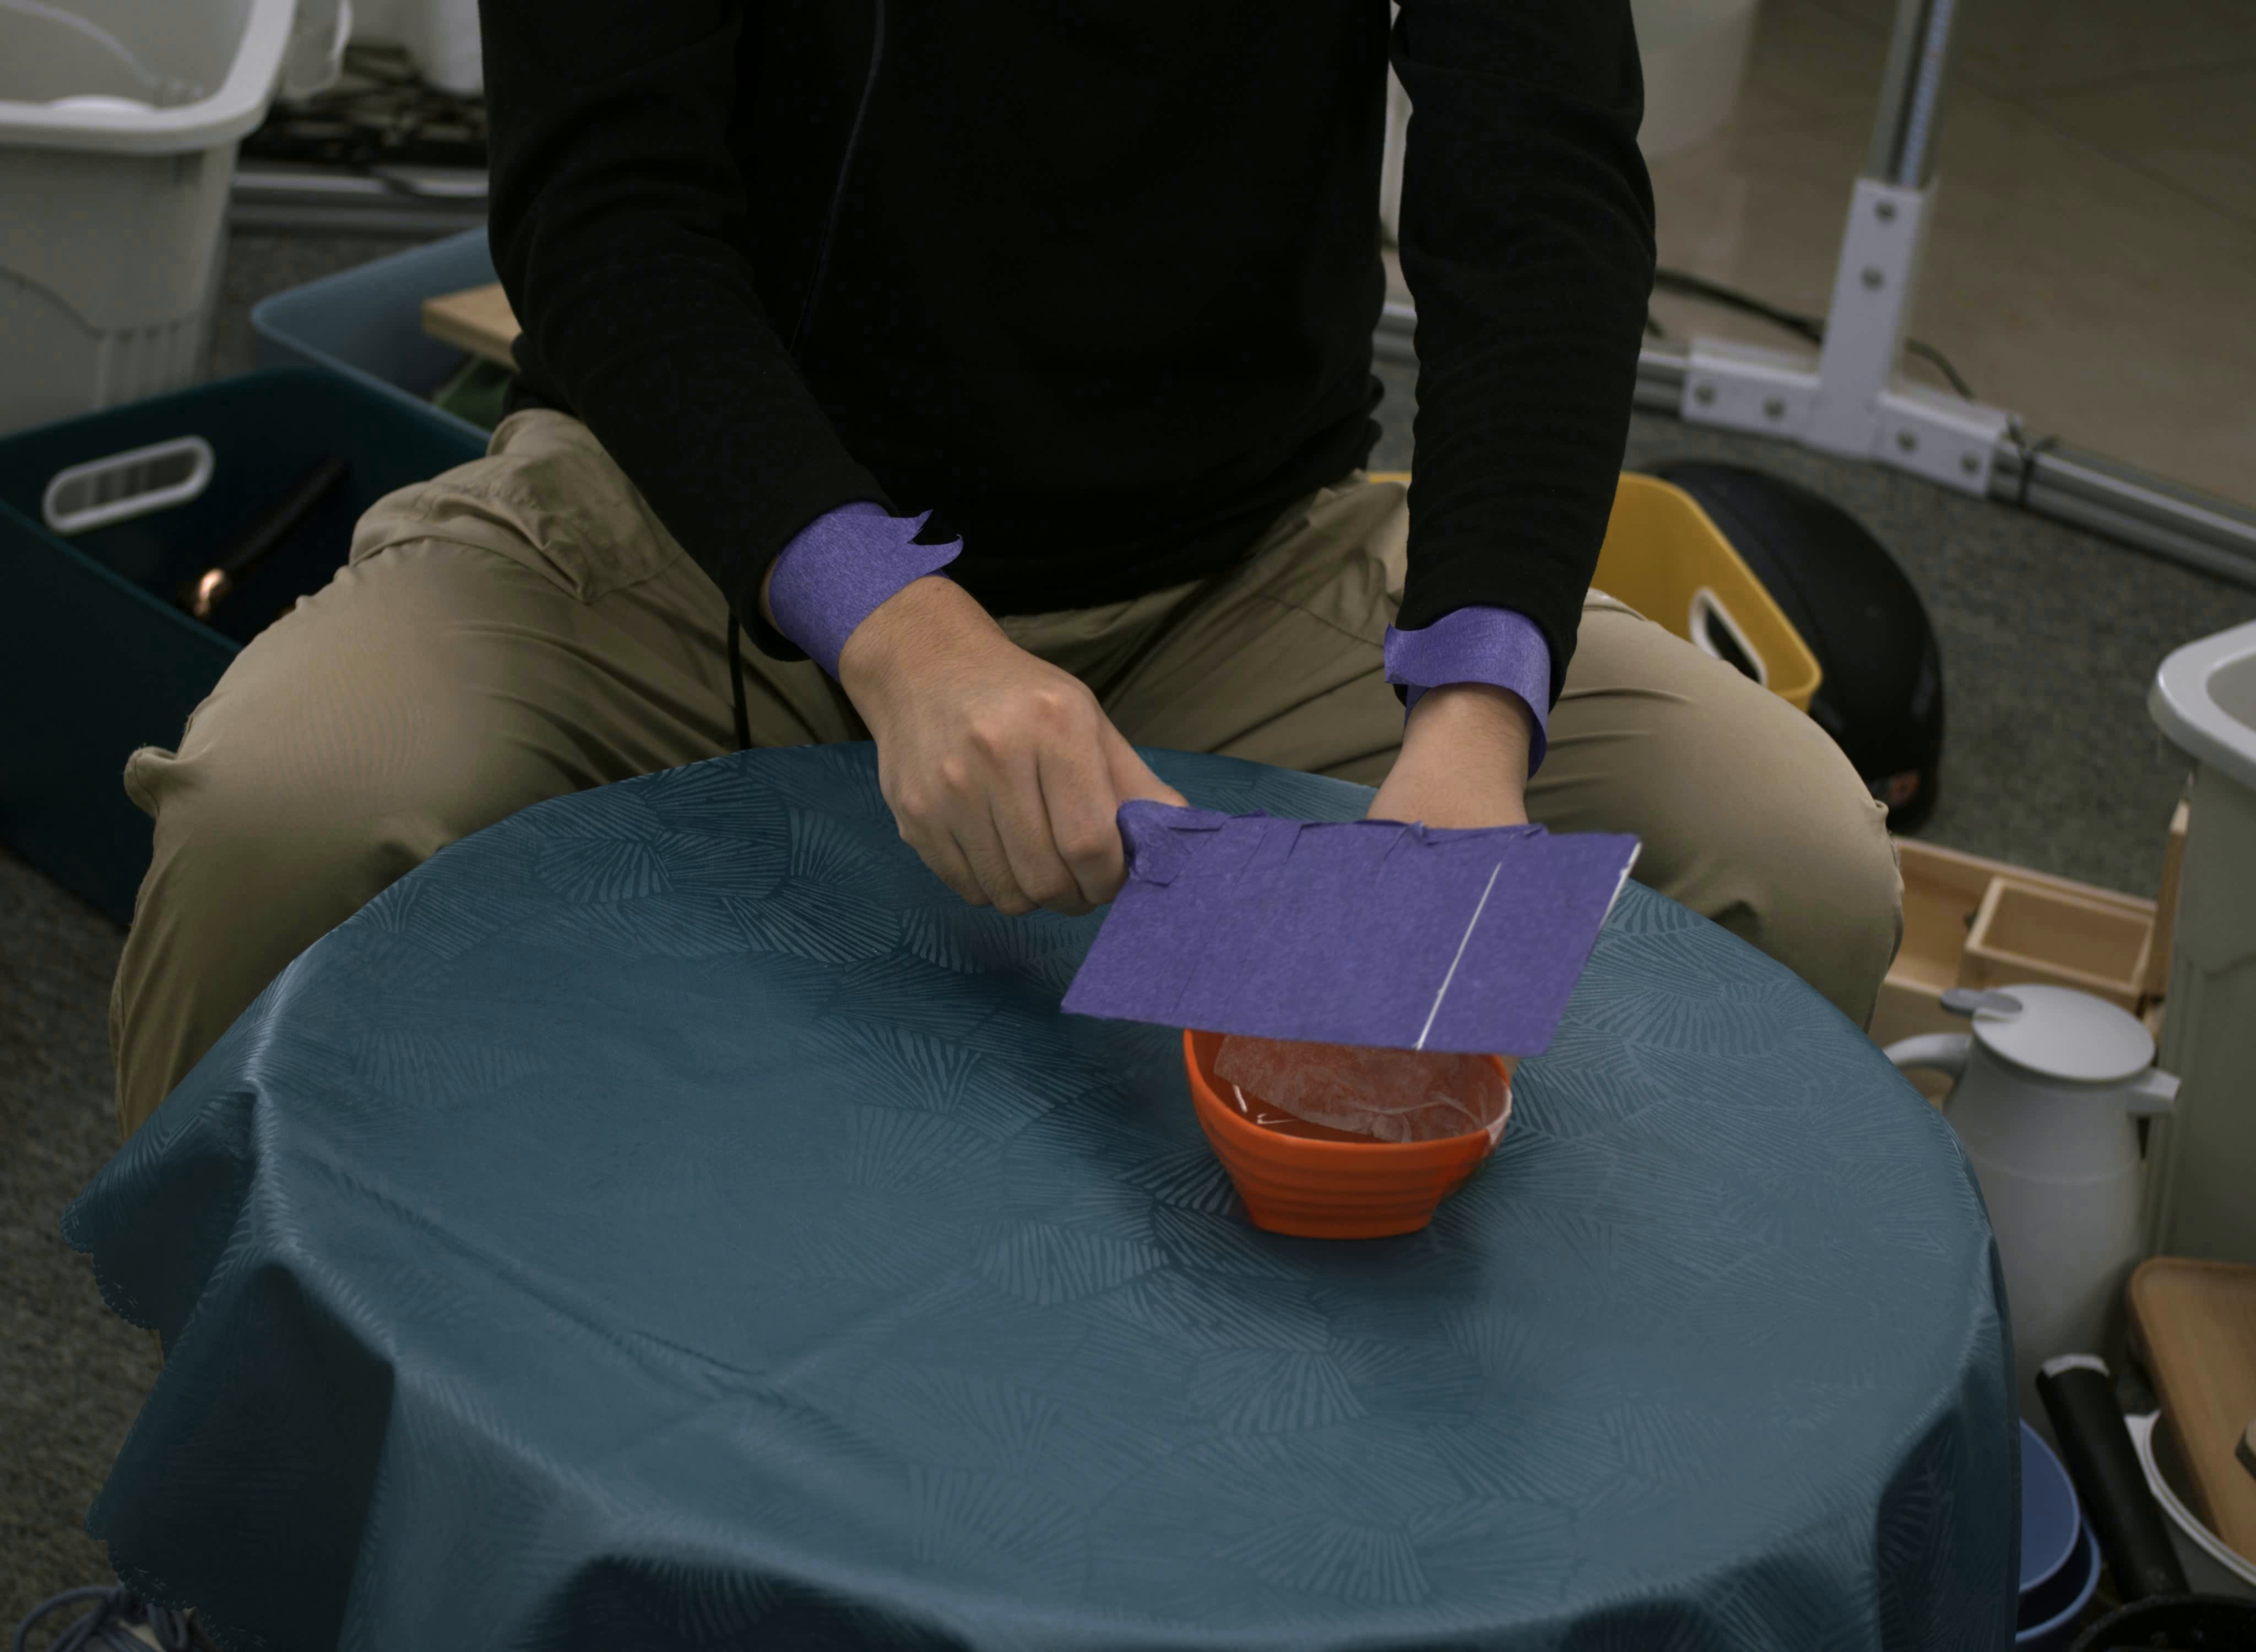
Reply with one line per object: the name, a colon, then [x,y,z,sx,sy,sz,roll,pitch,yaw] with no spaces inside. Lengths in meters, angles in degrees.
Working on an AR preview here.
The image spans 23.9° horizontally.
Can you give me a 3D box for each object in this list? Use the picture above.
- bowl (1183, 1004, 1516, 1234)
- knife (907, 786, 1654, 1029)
bowl: [0.072,0.099,1.807,0.118,0.051,0.120,4,30,-3]
knife: [0.034,0.026,1.833,0.317,0.032,0.104,1,51,41]
